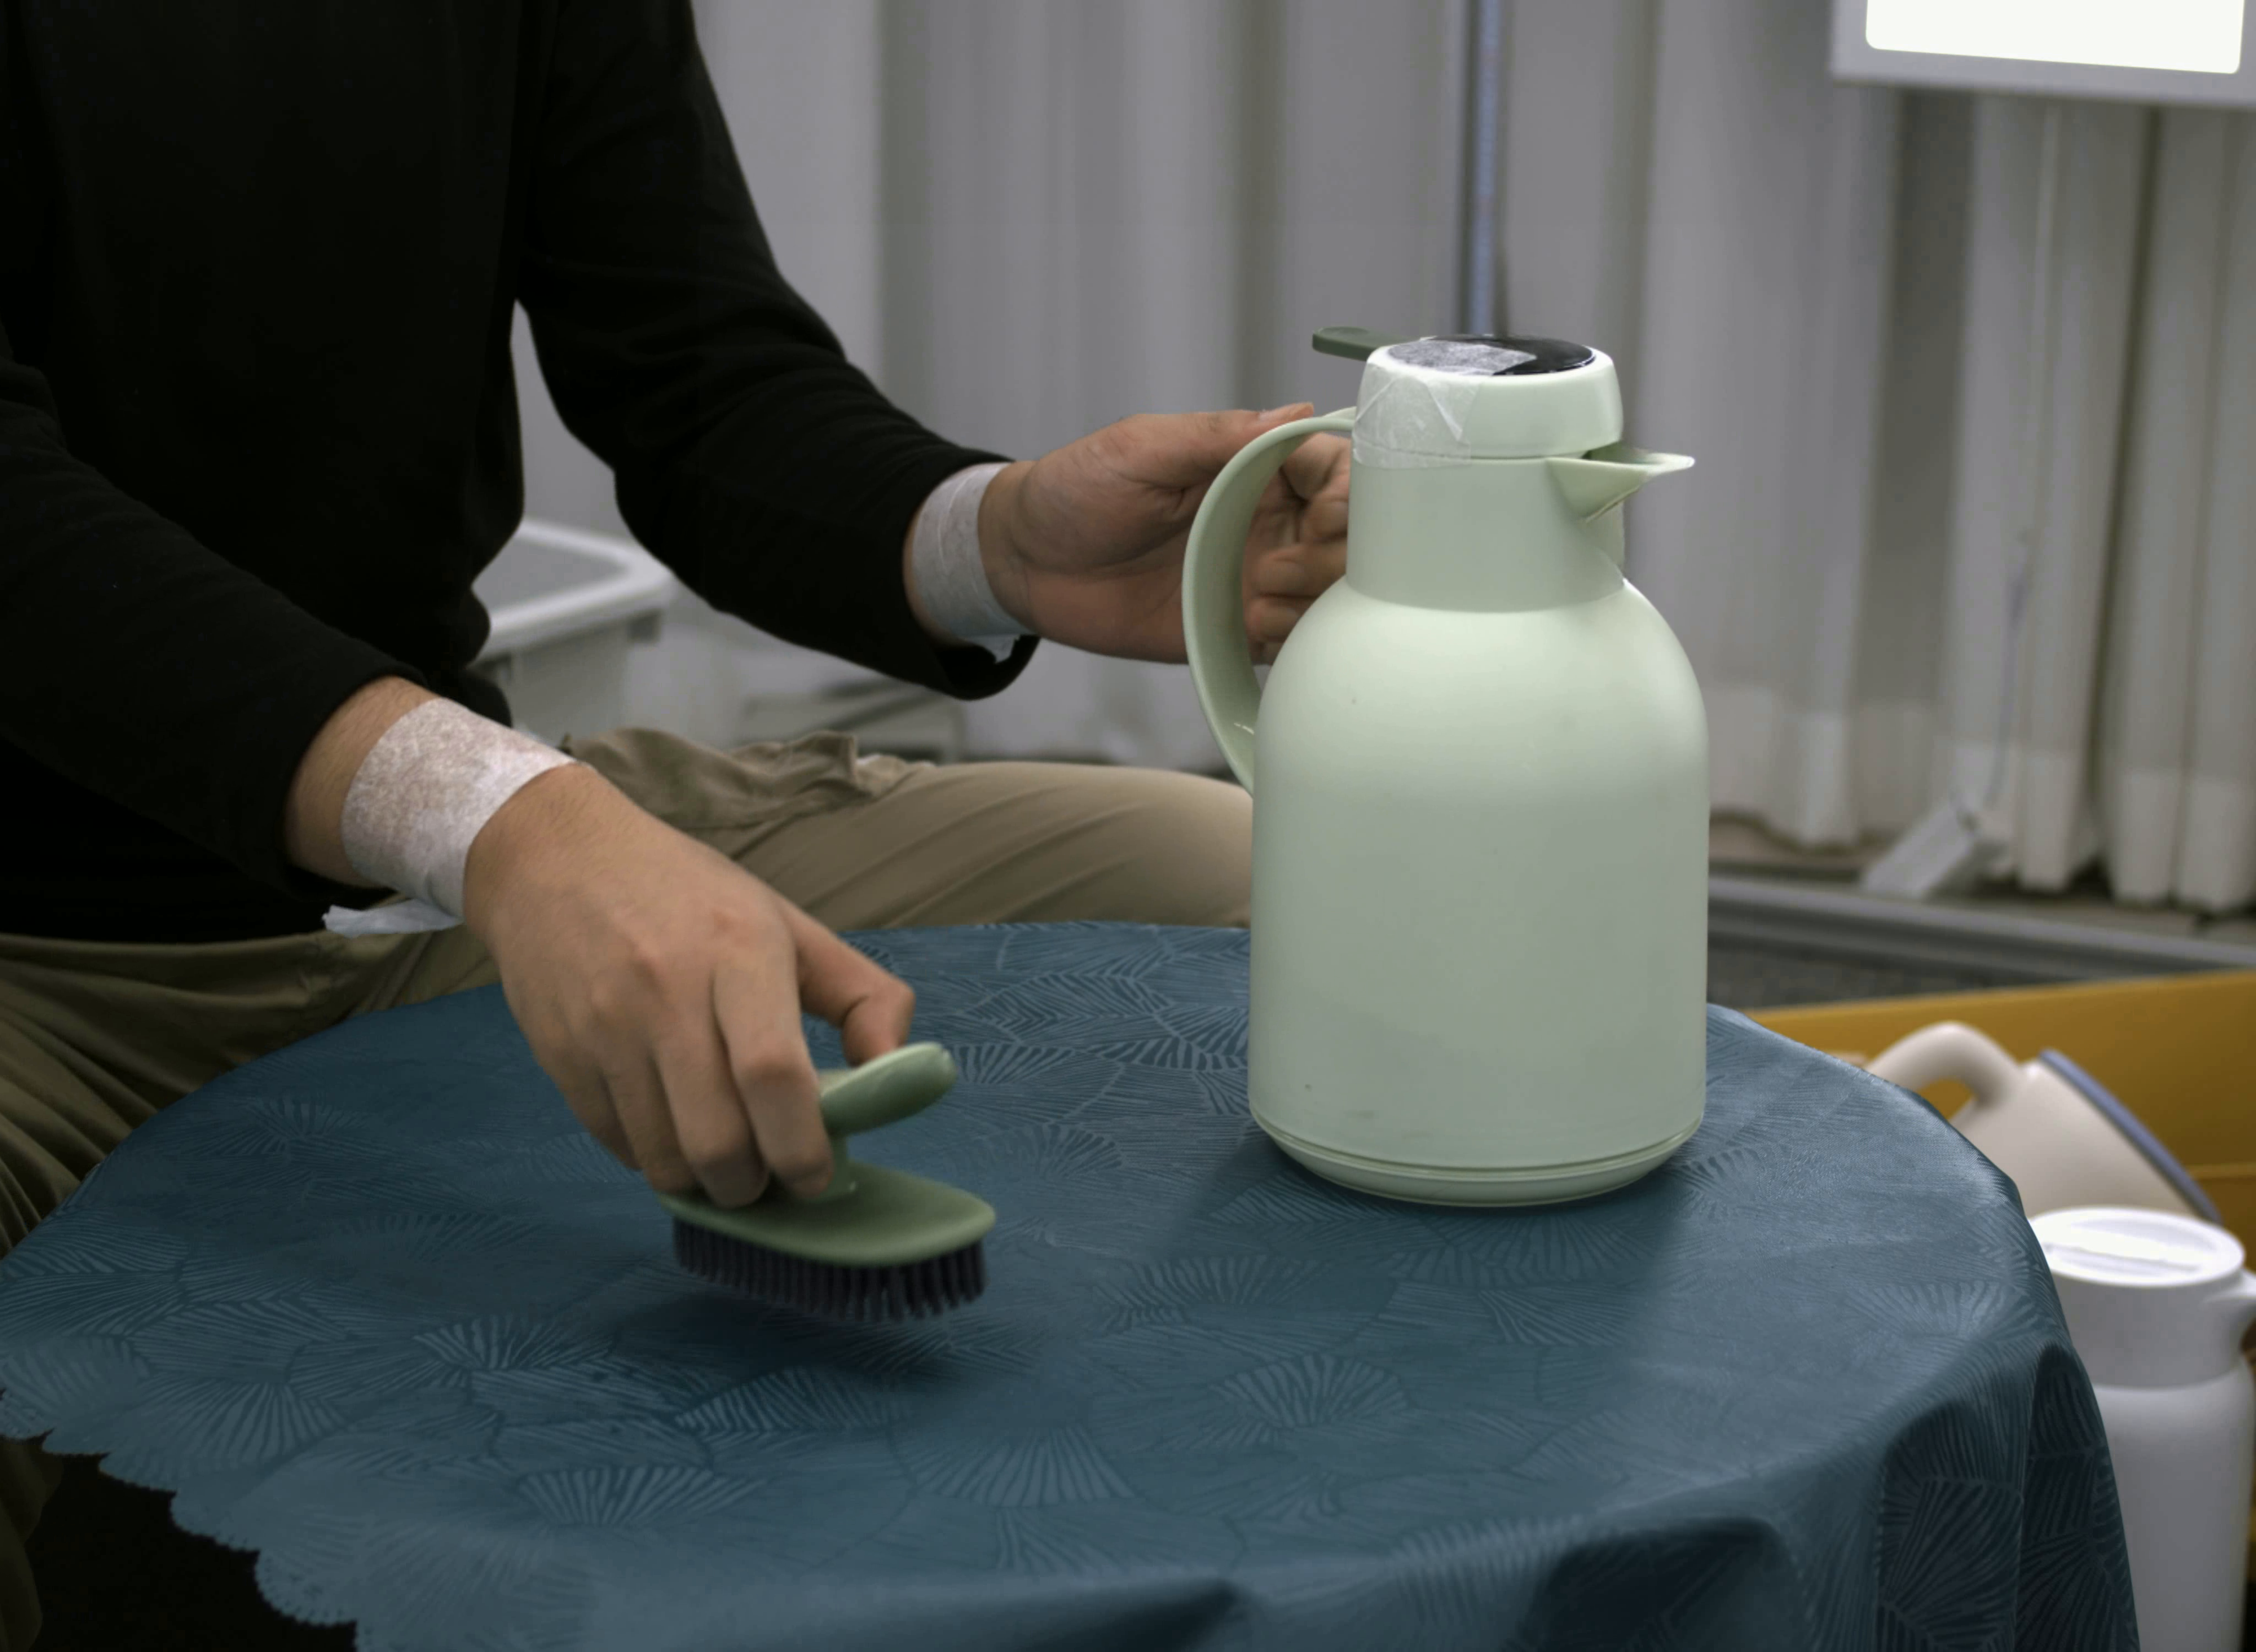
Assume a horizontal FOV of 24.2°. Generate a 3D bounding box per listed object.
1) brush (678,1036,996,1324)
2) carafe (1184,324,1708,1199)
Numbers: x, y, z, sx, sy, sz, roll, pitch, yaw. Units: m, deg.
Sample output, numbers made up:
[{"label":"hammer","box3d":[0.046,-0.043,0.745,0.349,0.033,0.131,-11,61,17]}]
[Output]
[{"label":"brush","box3d":[-0.083,0.103,1.491,0.060,0.076,0.122,-16,0,-33]},{"label":"carafe","box3d":[0.098,-0.025,1.637,0.184,0.259,0.145,10,19,39]}]
